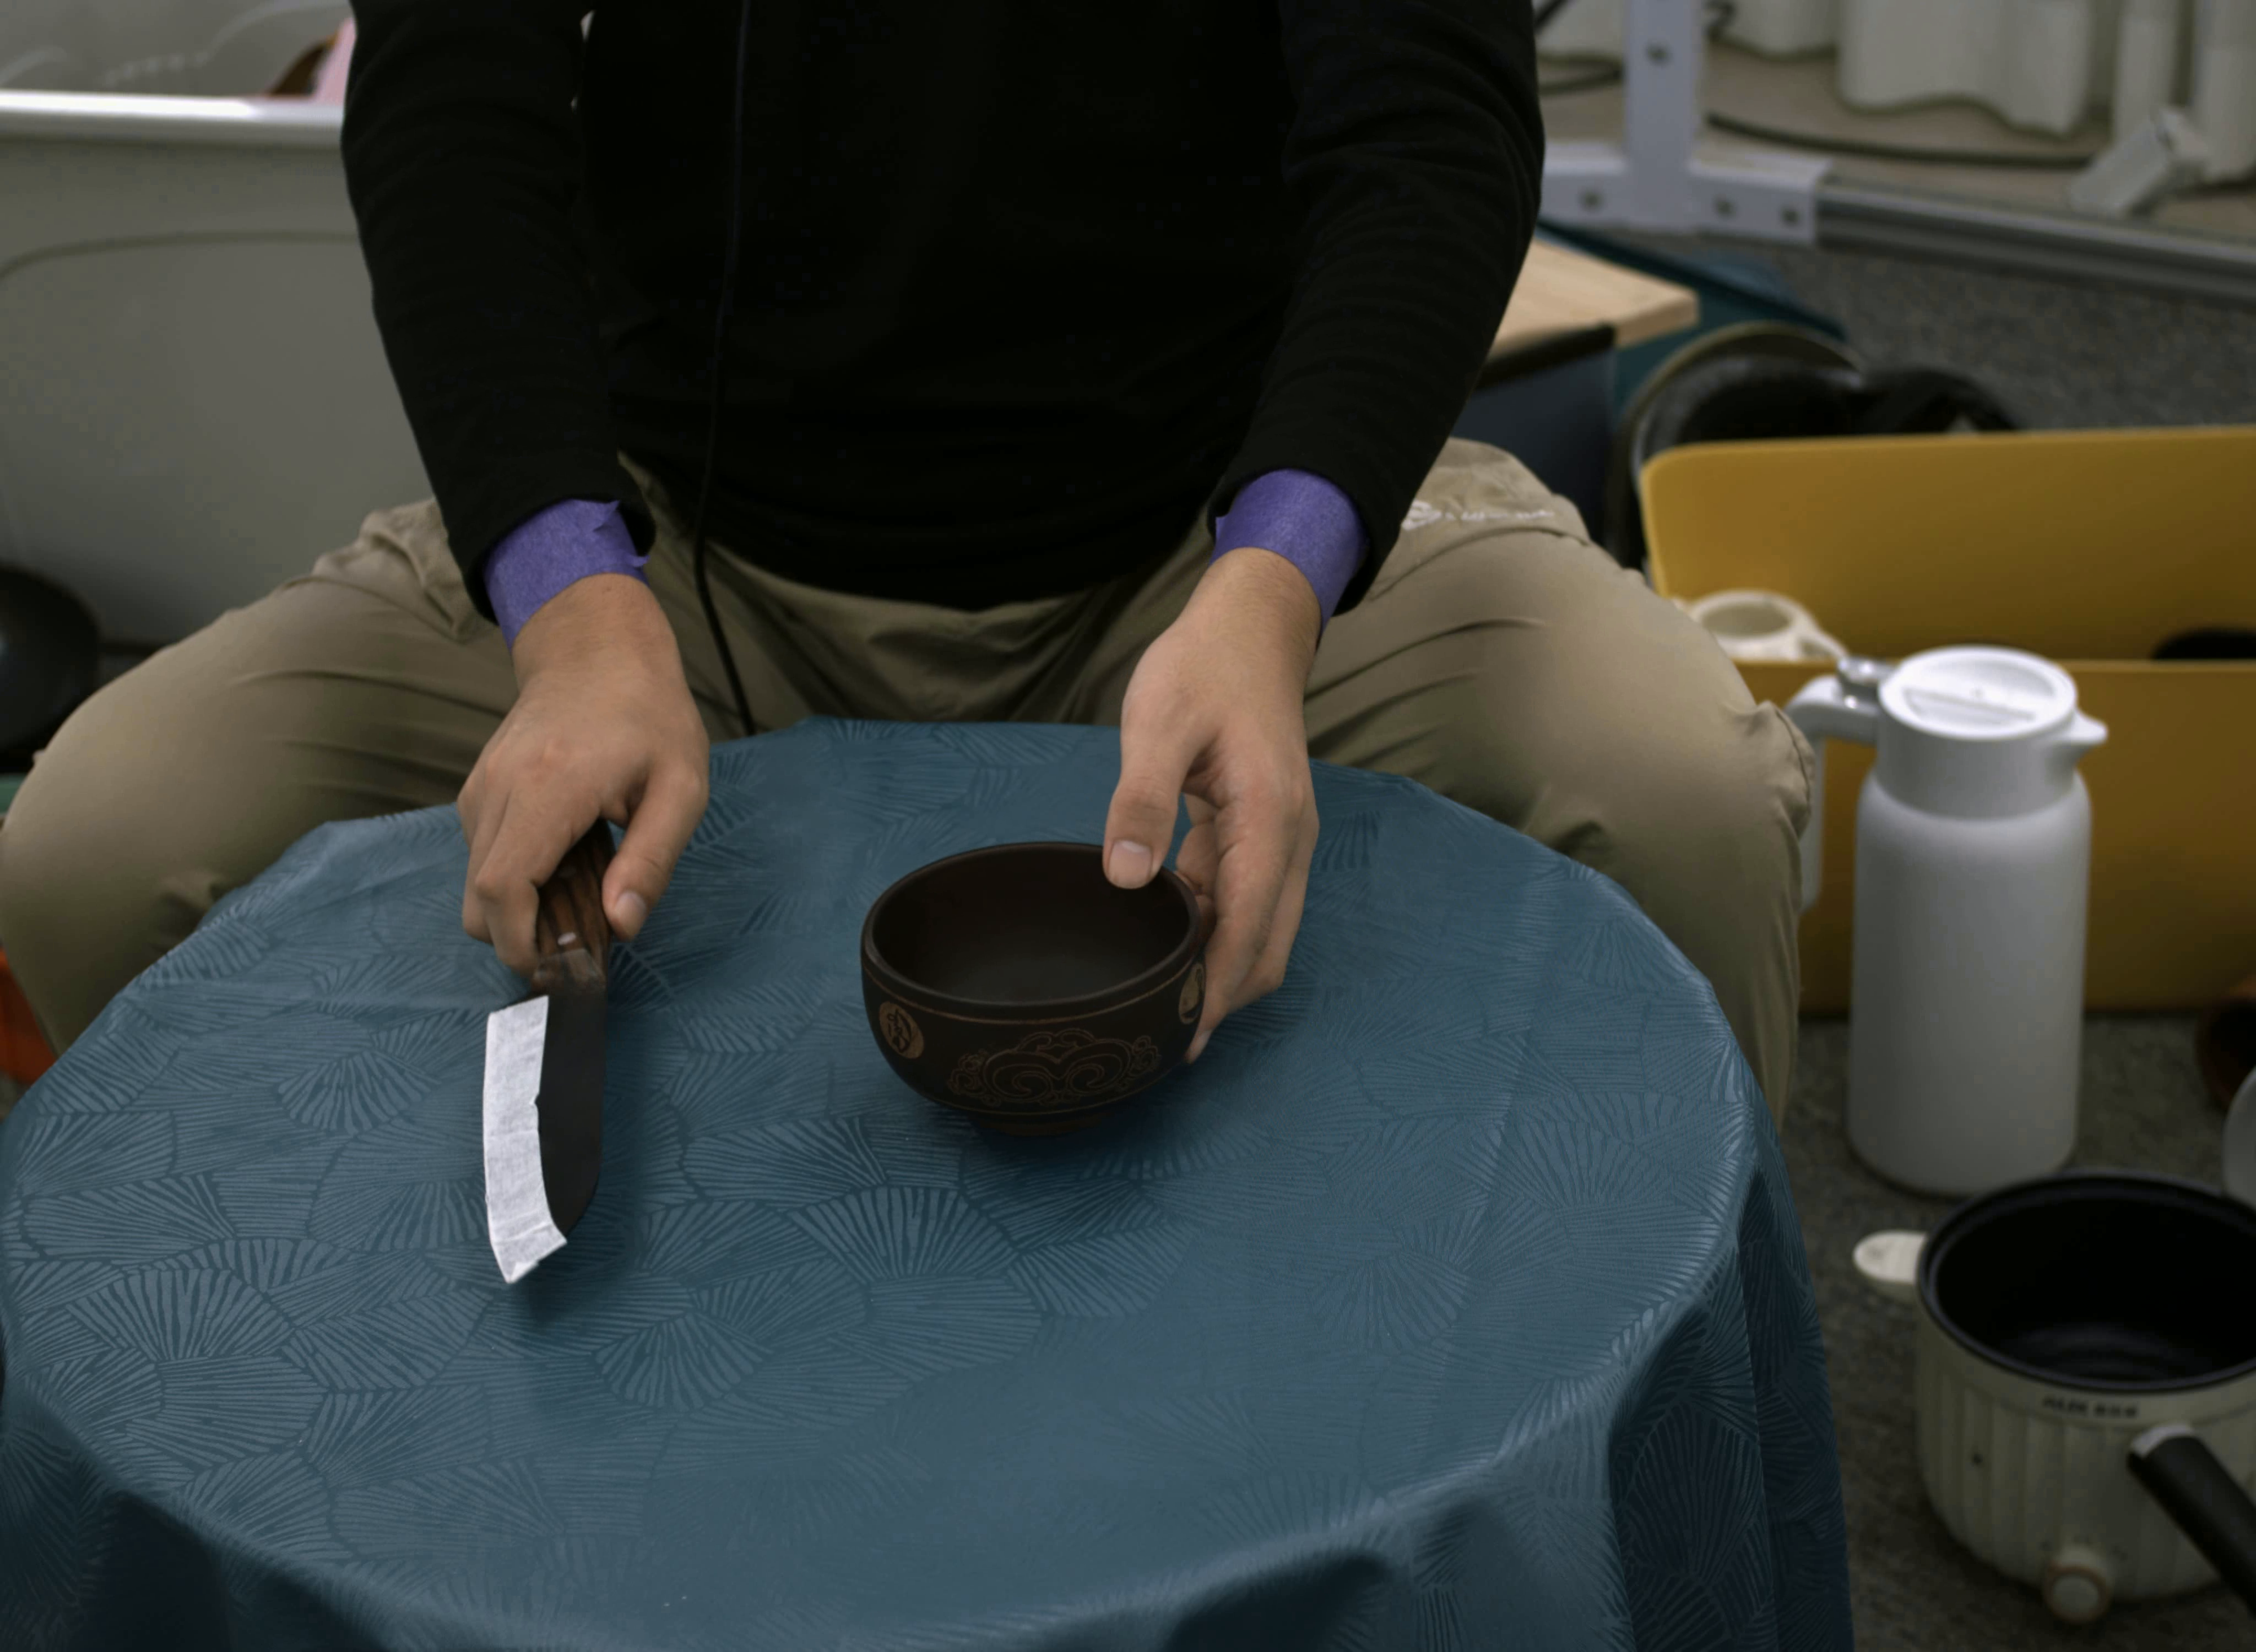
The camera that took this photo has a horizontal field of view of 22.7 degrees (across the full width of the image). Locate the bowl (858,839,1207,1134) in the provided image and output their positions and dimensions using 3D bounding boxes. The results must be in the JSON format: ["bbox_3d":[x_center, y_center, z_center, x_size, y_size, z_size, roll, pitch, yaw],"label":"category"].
[{"bbox_3d":[-0.031,0.061,1.902,0.117,0.069,0.120,-2,26,1],"label":"bowl"}]

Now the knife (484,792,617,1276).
[{"bbox_3d":[-0.196,0.069,1.912,0.050,0.020,0.294,-18,29,9],"label":"knife"}]
